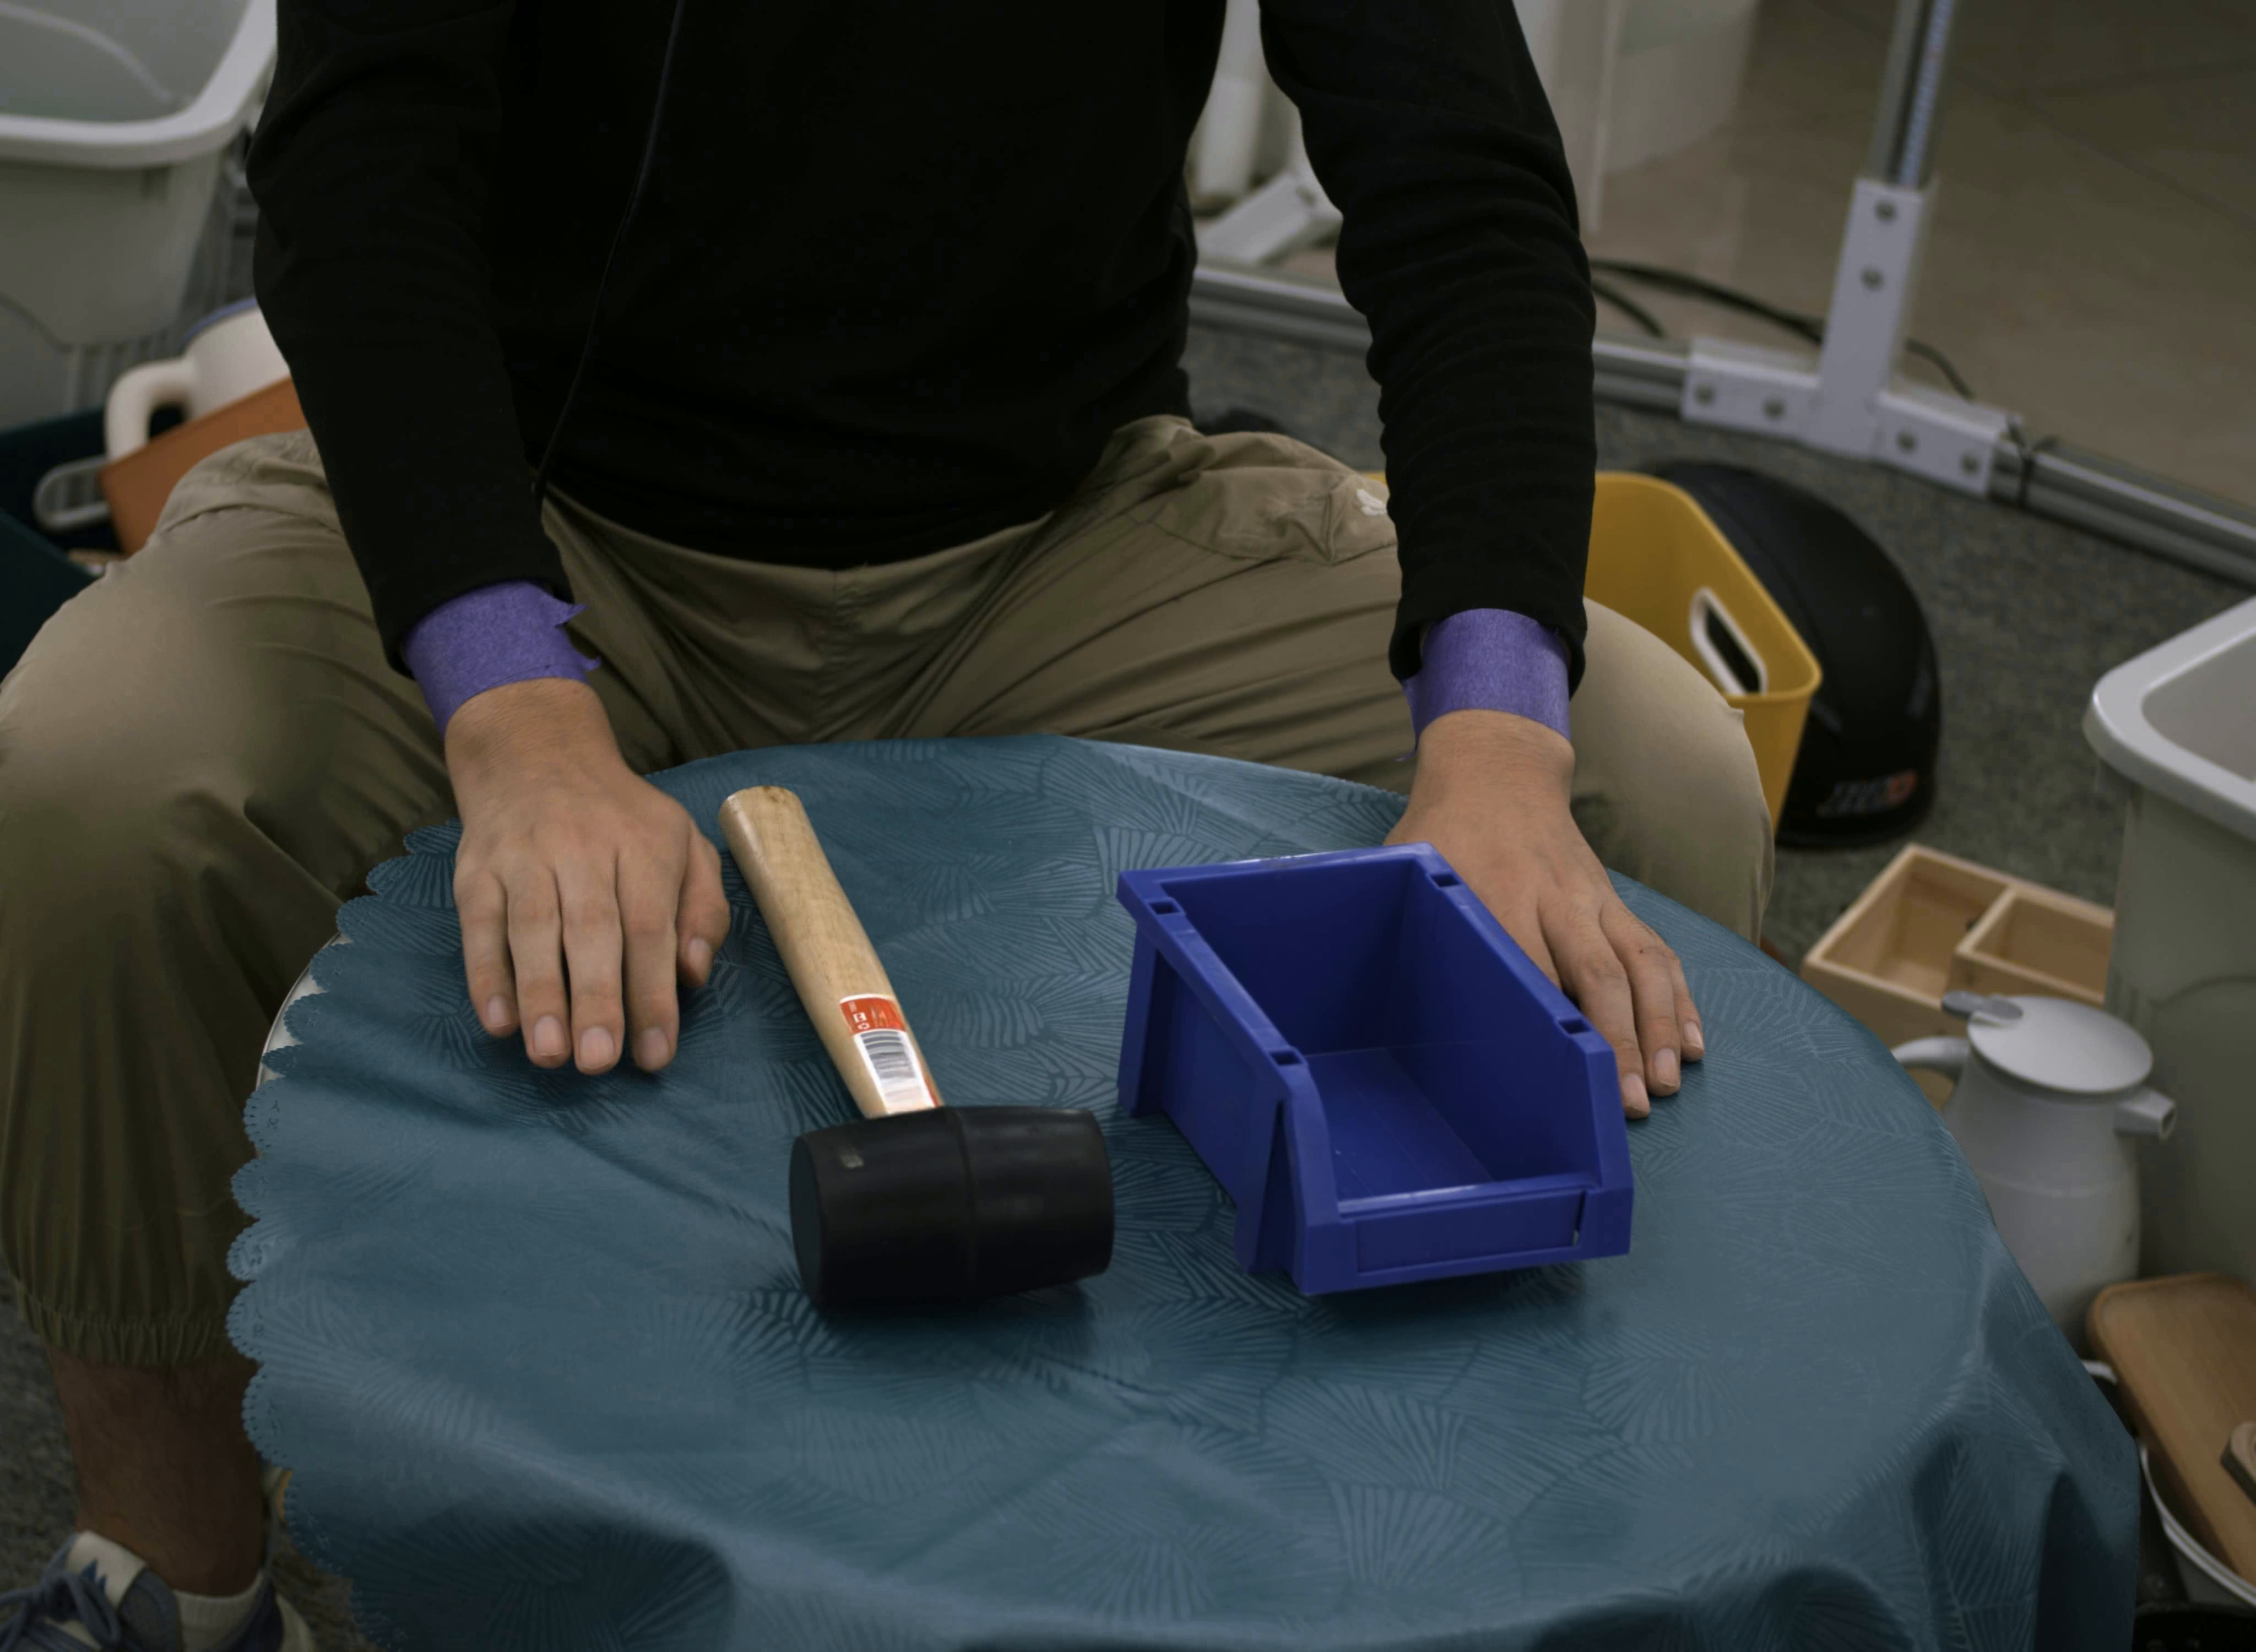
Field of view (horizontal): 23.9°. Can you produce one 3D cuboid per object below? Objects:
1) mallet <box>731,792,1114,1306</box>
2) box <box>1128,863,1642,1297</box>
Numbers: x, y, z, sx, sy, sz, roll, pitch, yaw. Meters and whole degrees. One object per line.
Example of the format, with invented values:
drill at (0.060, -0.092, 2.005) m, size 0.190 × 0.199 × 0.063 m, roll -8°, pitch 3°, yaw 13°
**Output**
mallet at (-0.092, 0.060, 1.843) m, size 0.101 × 0.064 × 0.342 m, roll -1°, pitch 27°, yaw -15°
box at (0.086, 0.090, 1.801) m, size 0.124 × 0.081 × 0.181 m, roll -4°, pitch 26°, yaw -21°
